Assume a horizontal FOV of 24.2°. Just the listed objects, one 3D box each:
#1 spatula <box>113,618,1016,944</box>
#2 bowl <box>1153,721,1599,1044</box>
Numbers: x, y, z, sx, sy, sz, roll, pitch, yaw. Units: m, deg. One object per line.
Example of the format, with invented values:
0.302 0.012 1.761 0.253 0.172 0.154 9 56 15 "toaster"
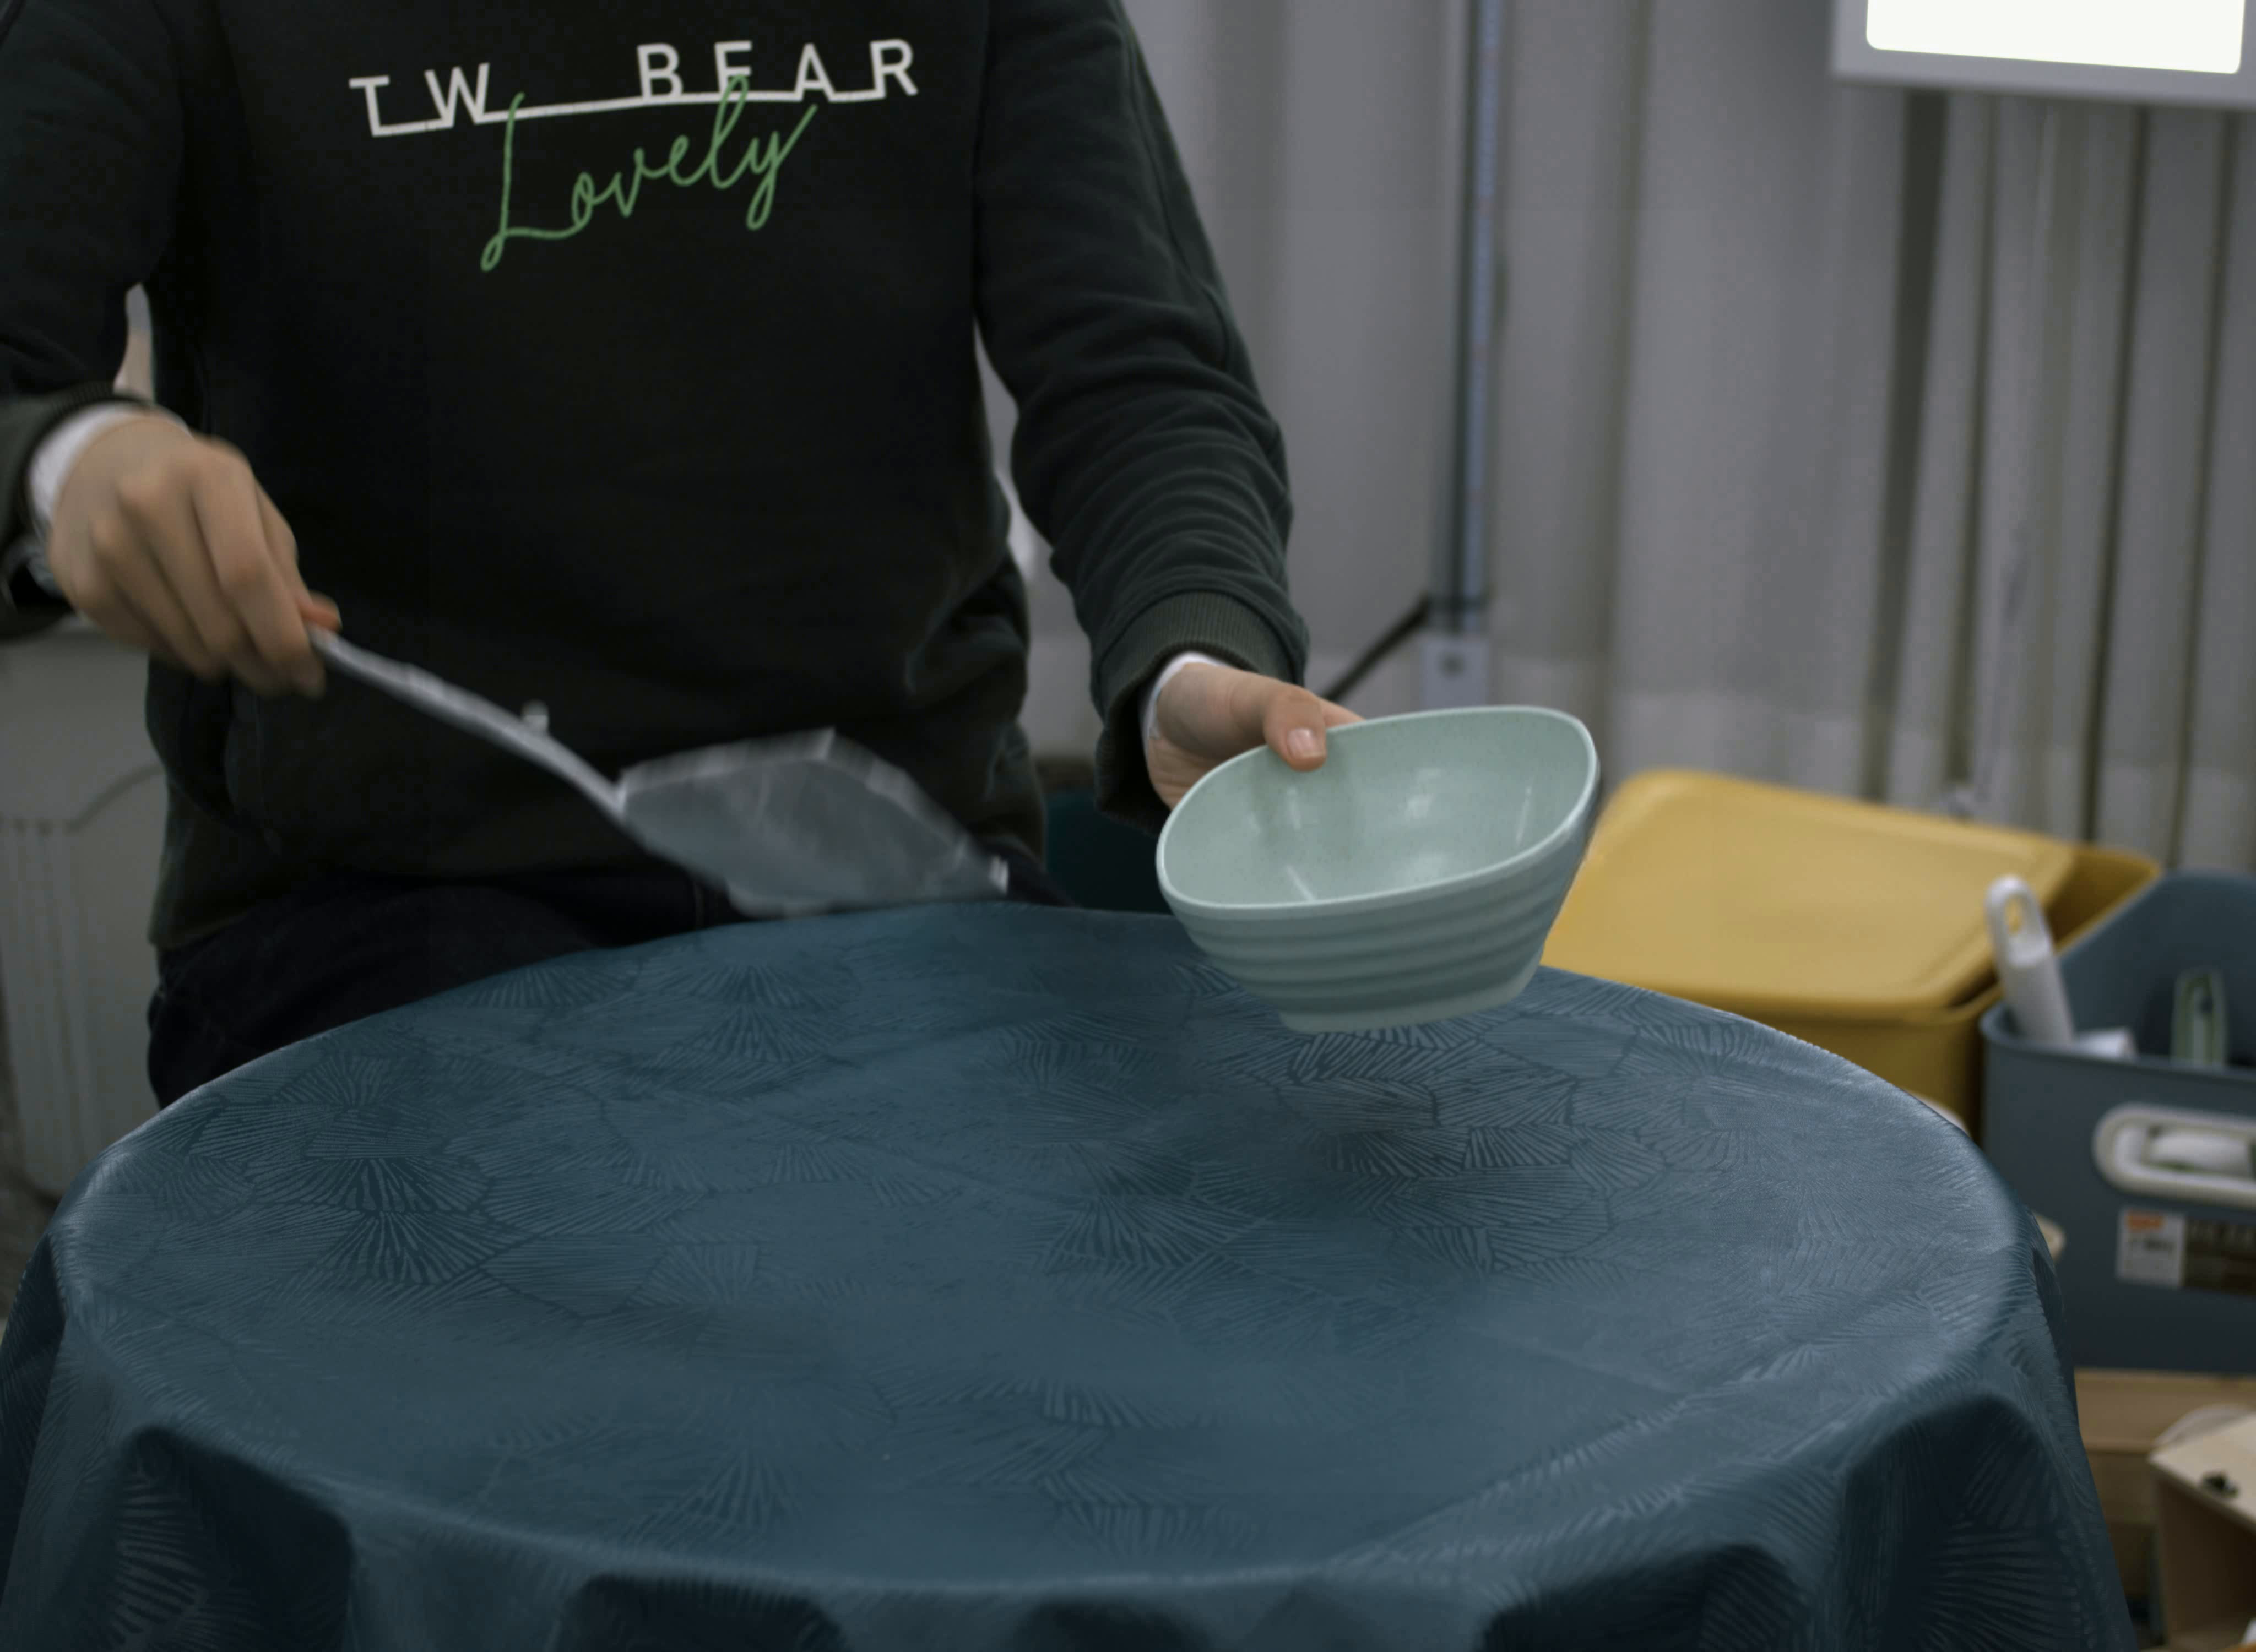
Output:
-0.184 -0.024 1.528 0.360 0.045 0.100 23 -7 39 "spatula"
0.081 0.023 1.641 0.151 0.059 0.150 -9 24 5 "bowl"
